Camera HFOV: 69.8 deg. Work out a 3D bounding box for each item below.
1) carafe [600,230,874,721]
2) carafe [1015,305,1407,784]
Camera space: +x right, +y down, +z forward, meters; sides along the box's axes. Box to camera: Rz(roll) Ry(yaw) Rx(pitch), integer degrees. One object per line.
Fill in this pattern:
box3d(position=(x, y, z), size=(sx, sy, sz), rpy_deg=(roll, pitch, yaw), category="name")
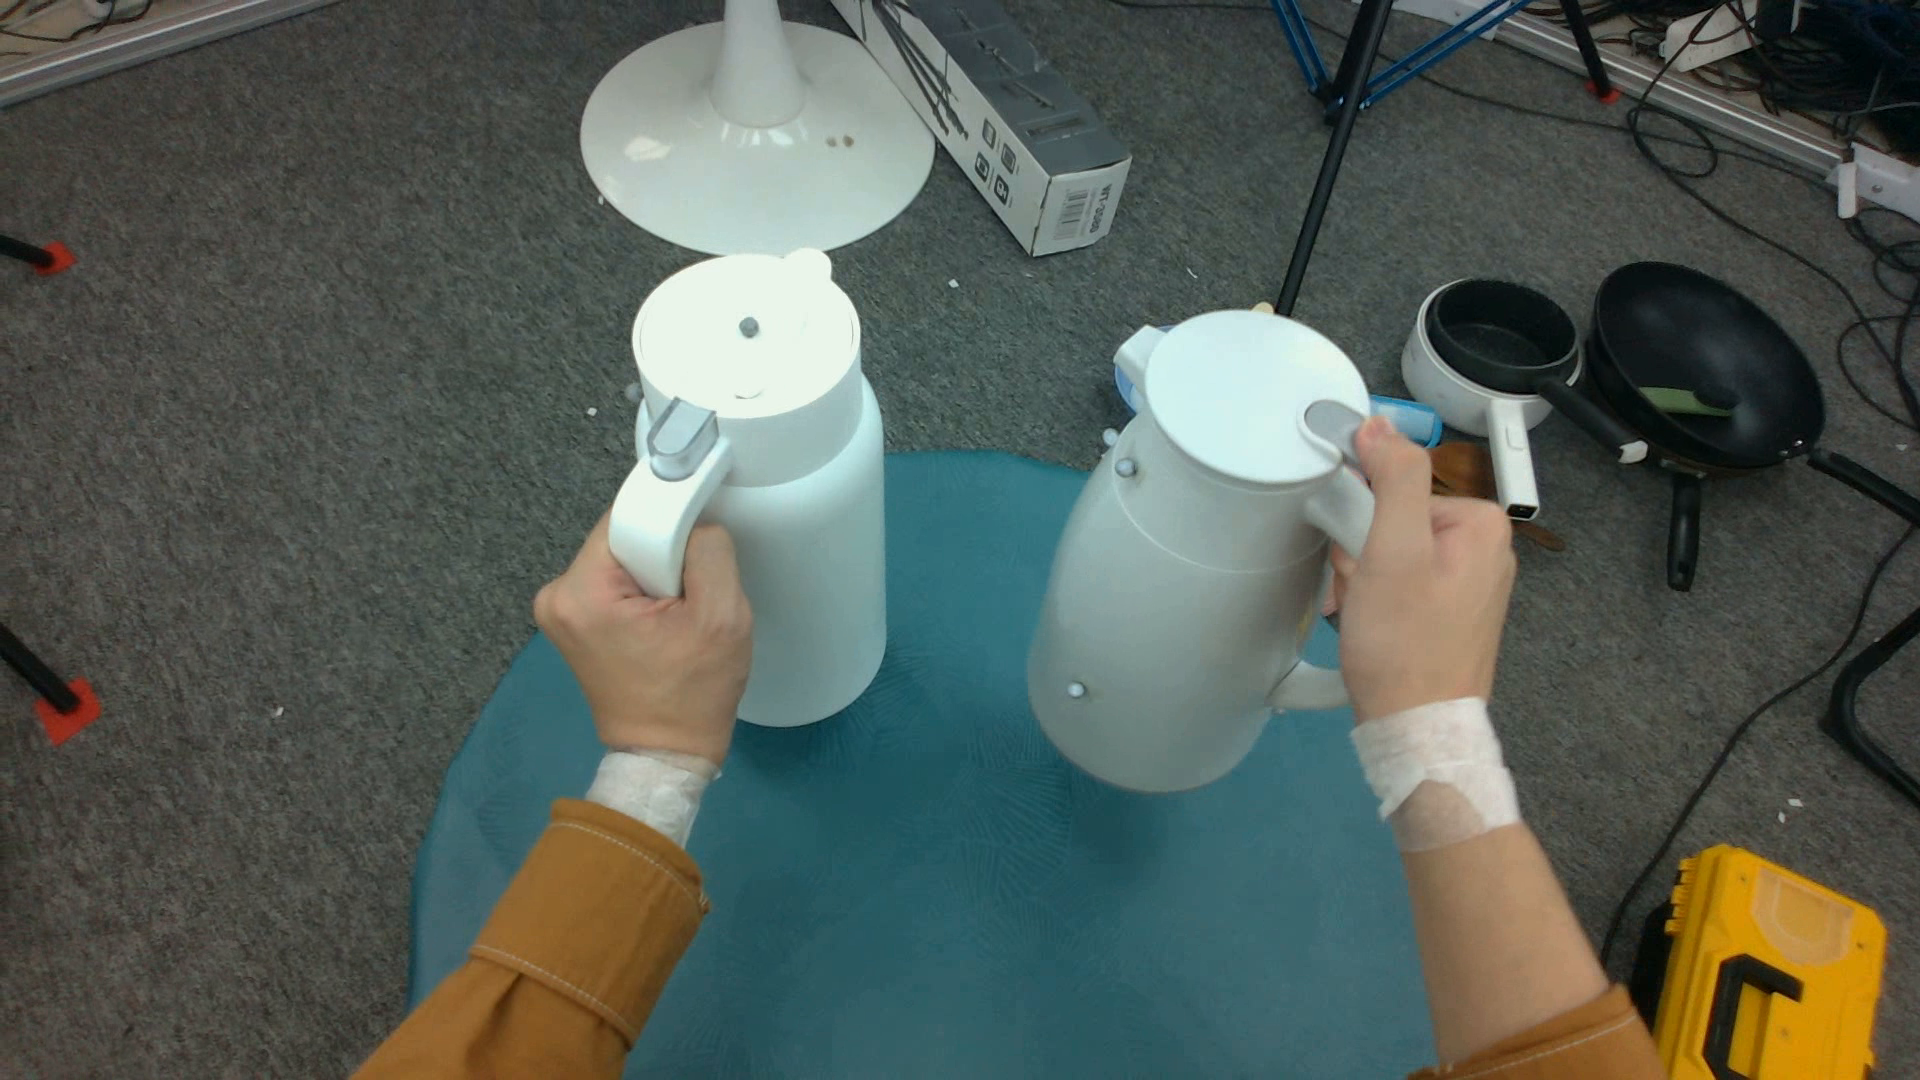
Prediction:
box3d(position=(-0.109, -0.005, 0.697), size=(0.124, 0.267, 0.173), rpy_deg=(20, 56, 9), category="carafe")
box3d(position=(0.121, 0.014, 0.647), size=(0.168, 0.247, 0.133), rpy_deg=(38, 59, 18), category="carafe")
